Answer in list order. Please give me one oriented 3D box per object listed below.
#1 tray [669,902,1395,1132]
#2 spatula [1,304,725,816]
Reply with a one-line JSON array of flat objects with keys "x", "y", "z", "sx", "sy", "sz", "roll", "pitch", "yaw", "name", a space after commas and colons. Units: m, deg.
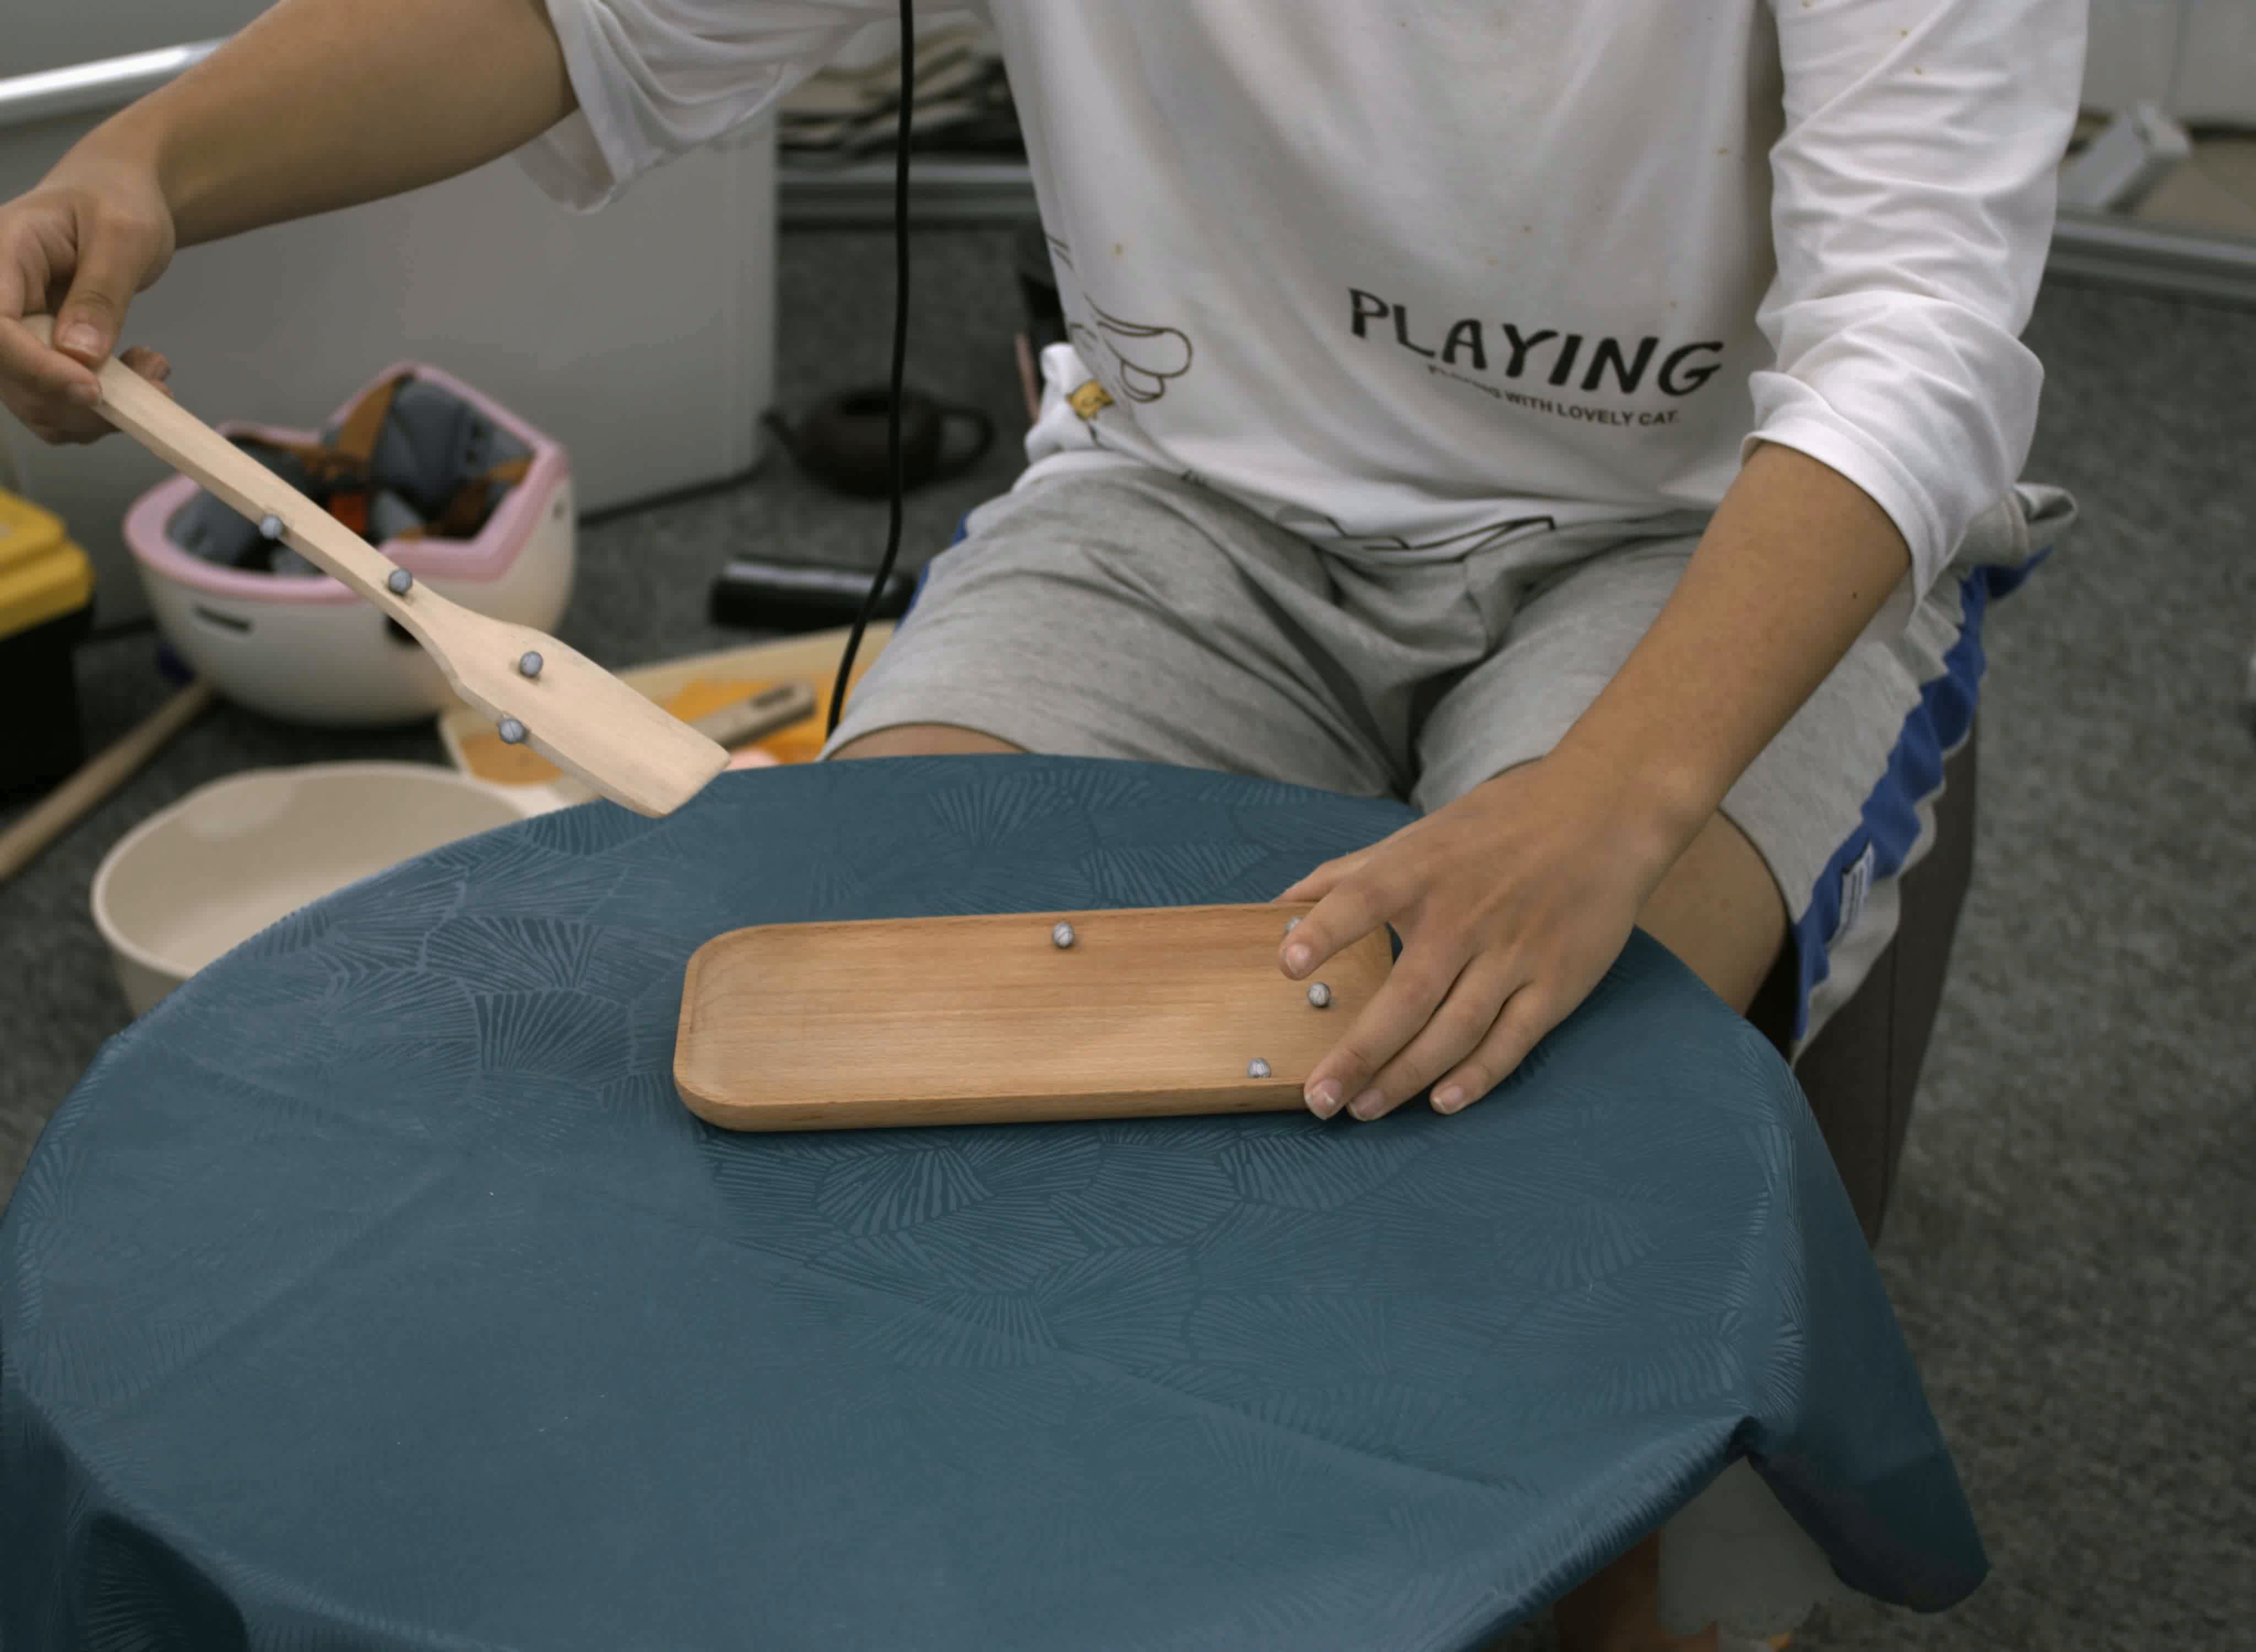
[{"x": -0.032, "y": 0.067, "z": 1.957, "sx": 0.249, "sy": 0.022, "sz": 0.132, "roll": -2, "pitch": 25, "yaw": 2, "name": "tray"}, {"x": -0.270, "y": -0.094, "z": 1.952, "sx": 0.293, "sy": 0.010, "sz": 0.073, "roll": 35, "pitch": 26, "yaw": 5, "name": "spatula"}]
